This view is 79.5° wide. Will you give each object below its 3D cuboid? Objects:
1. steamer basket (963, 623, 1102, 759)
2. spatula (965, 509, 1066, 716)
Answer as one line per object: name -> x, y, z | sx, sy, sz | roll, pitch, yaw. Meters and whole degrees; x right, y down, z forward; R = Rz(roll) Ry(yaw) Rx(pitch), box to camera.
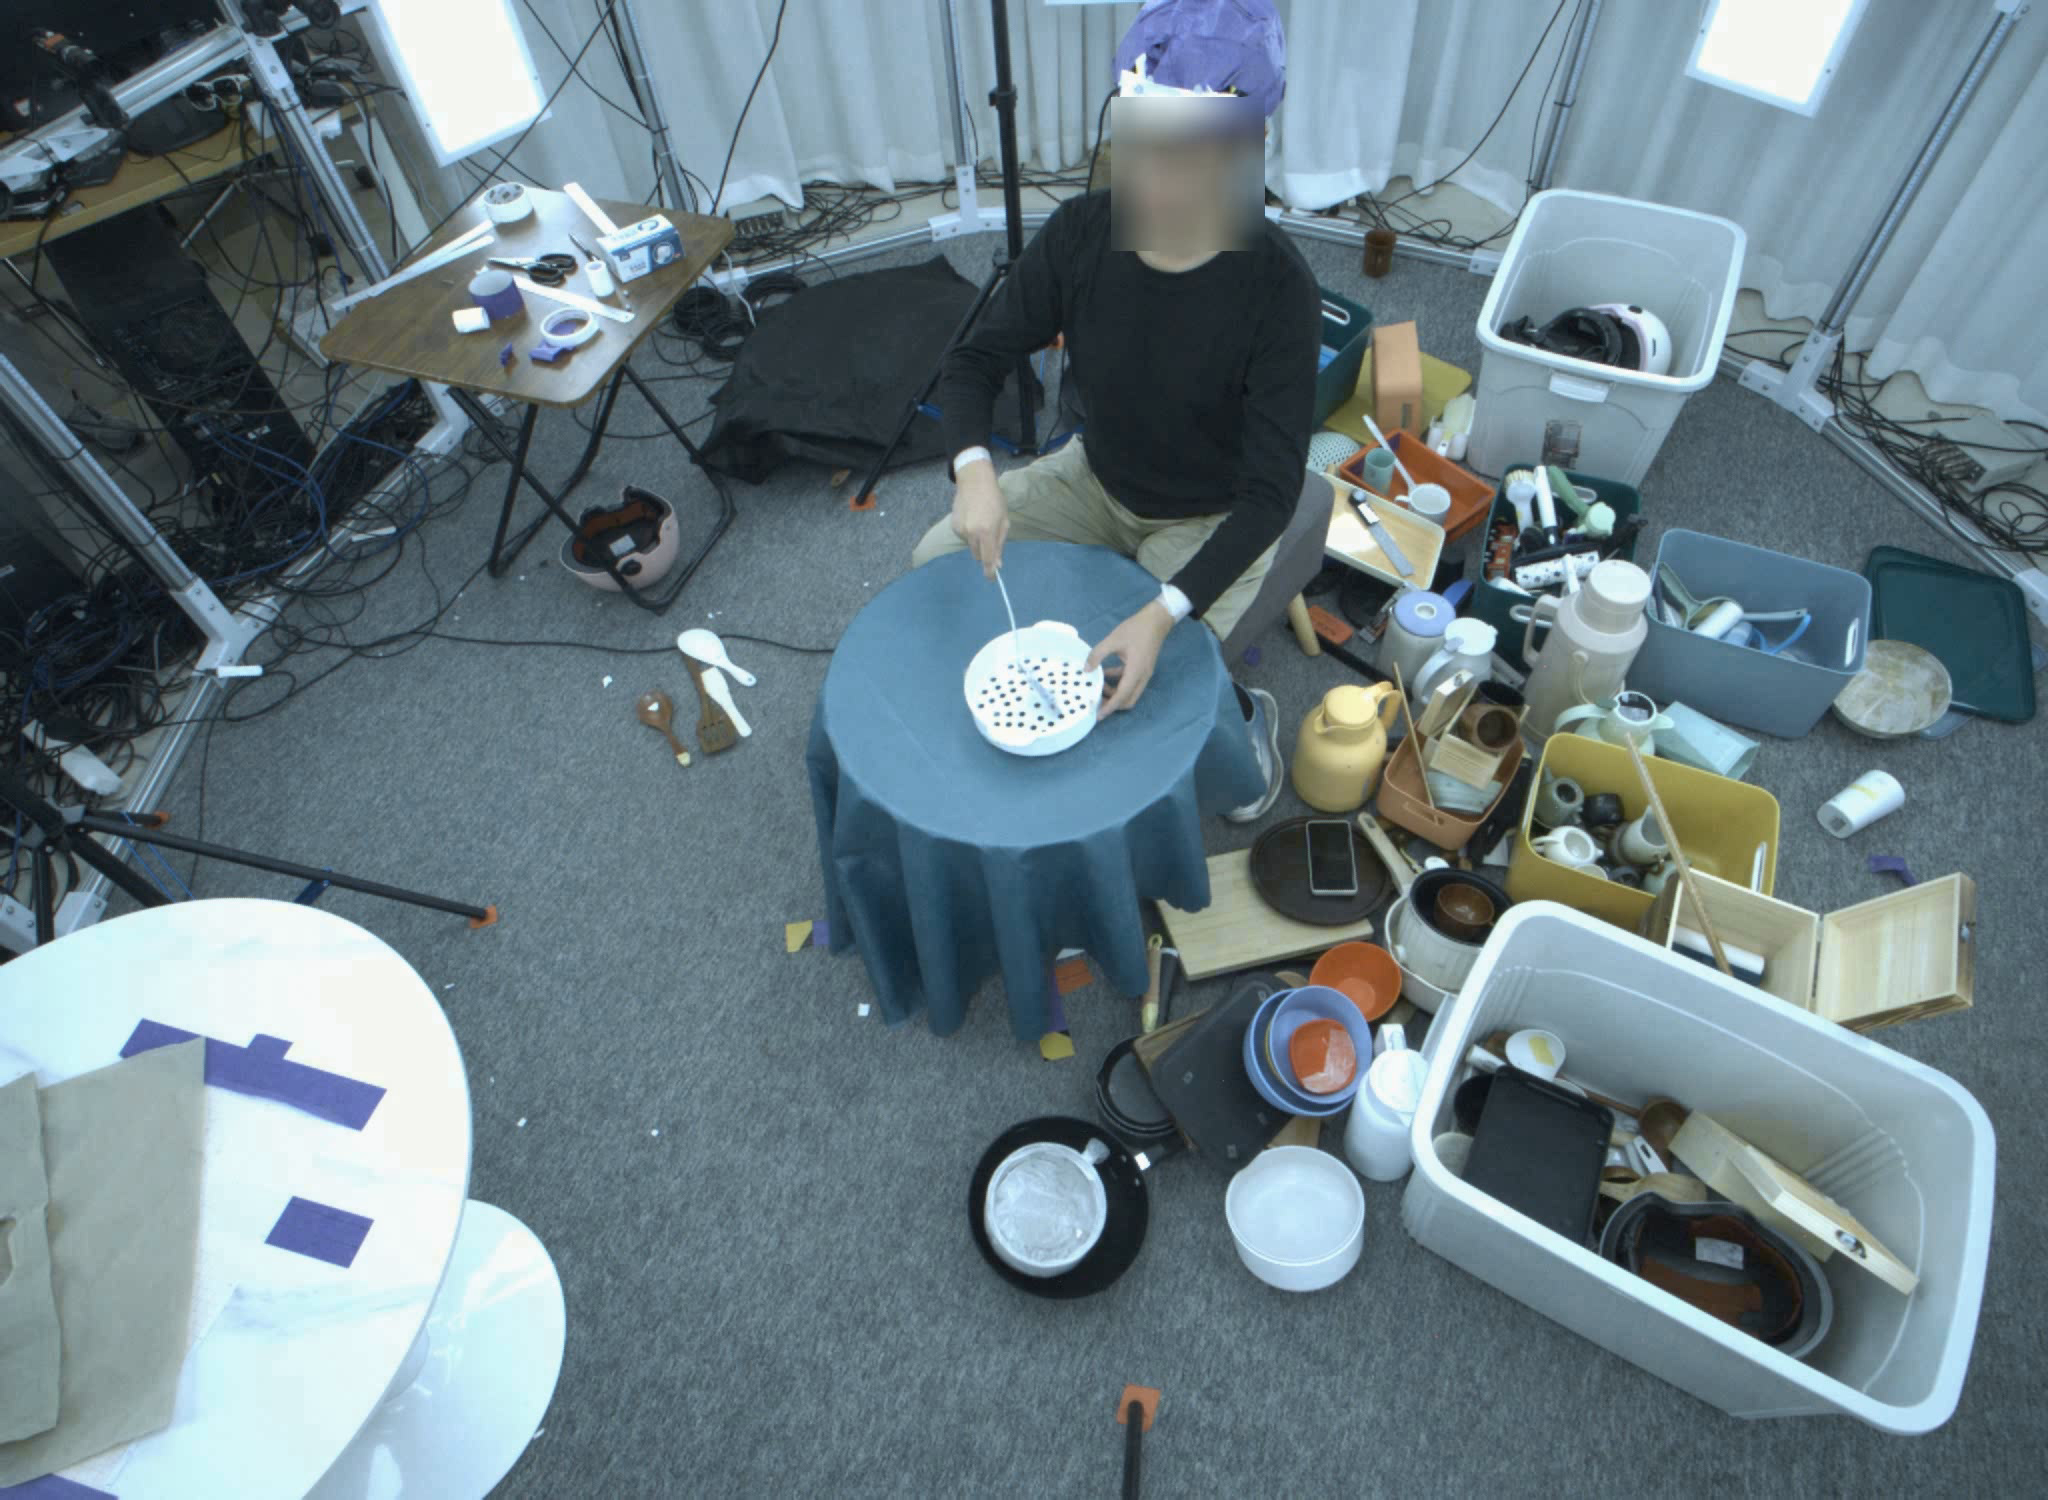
steamer basket -> 0.015, -0.081, 1.798 | 0.200, 0.070, 0.230 | 15, 59, 13
spatula -> -0.019, -0.212, 1.806 | 0.044, 0.100, 0.362 | -20, 76, 8
